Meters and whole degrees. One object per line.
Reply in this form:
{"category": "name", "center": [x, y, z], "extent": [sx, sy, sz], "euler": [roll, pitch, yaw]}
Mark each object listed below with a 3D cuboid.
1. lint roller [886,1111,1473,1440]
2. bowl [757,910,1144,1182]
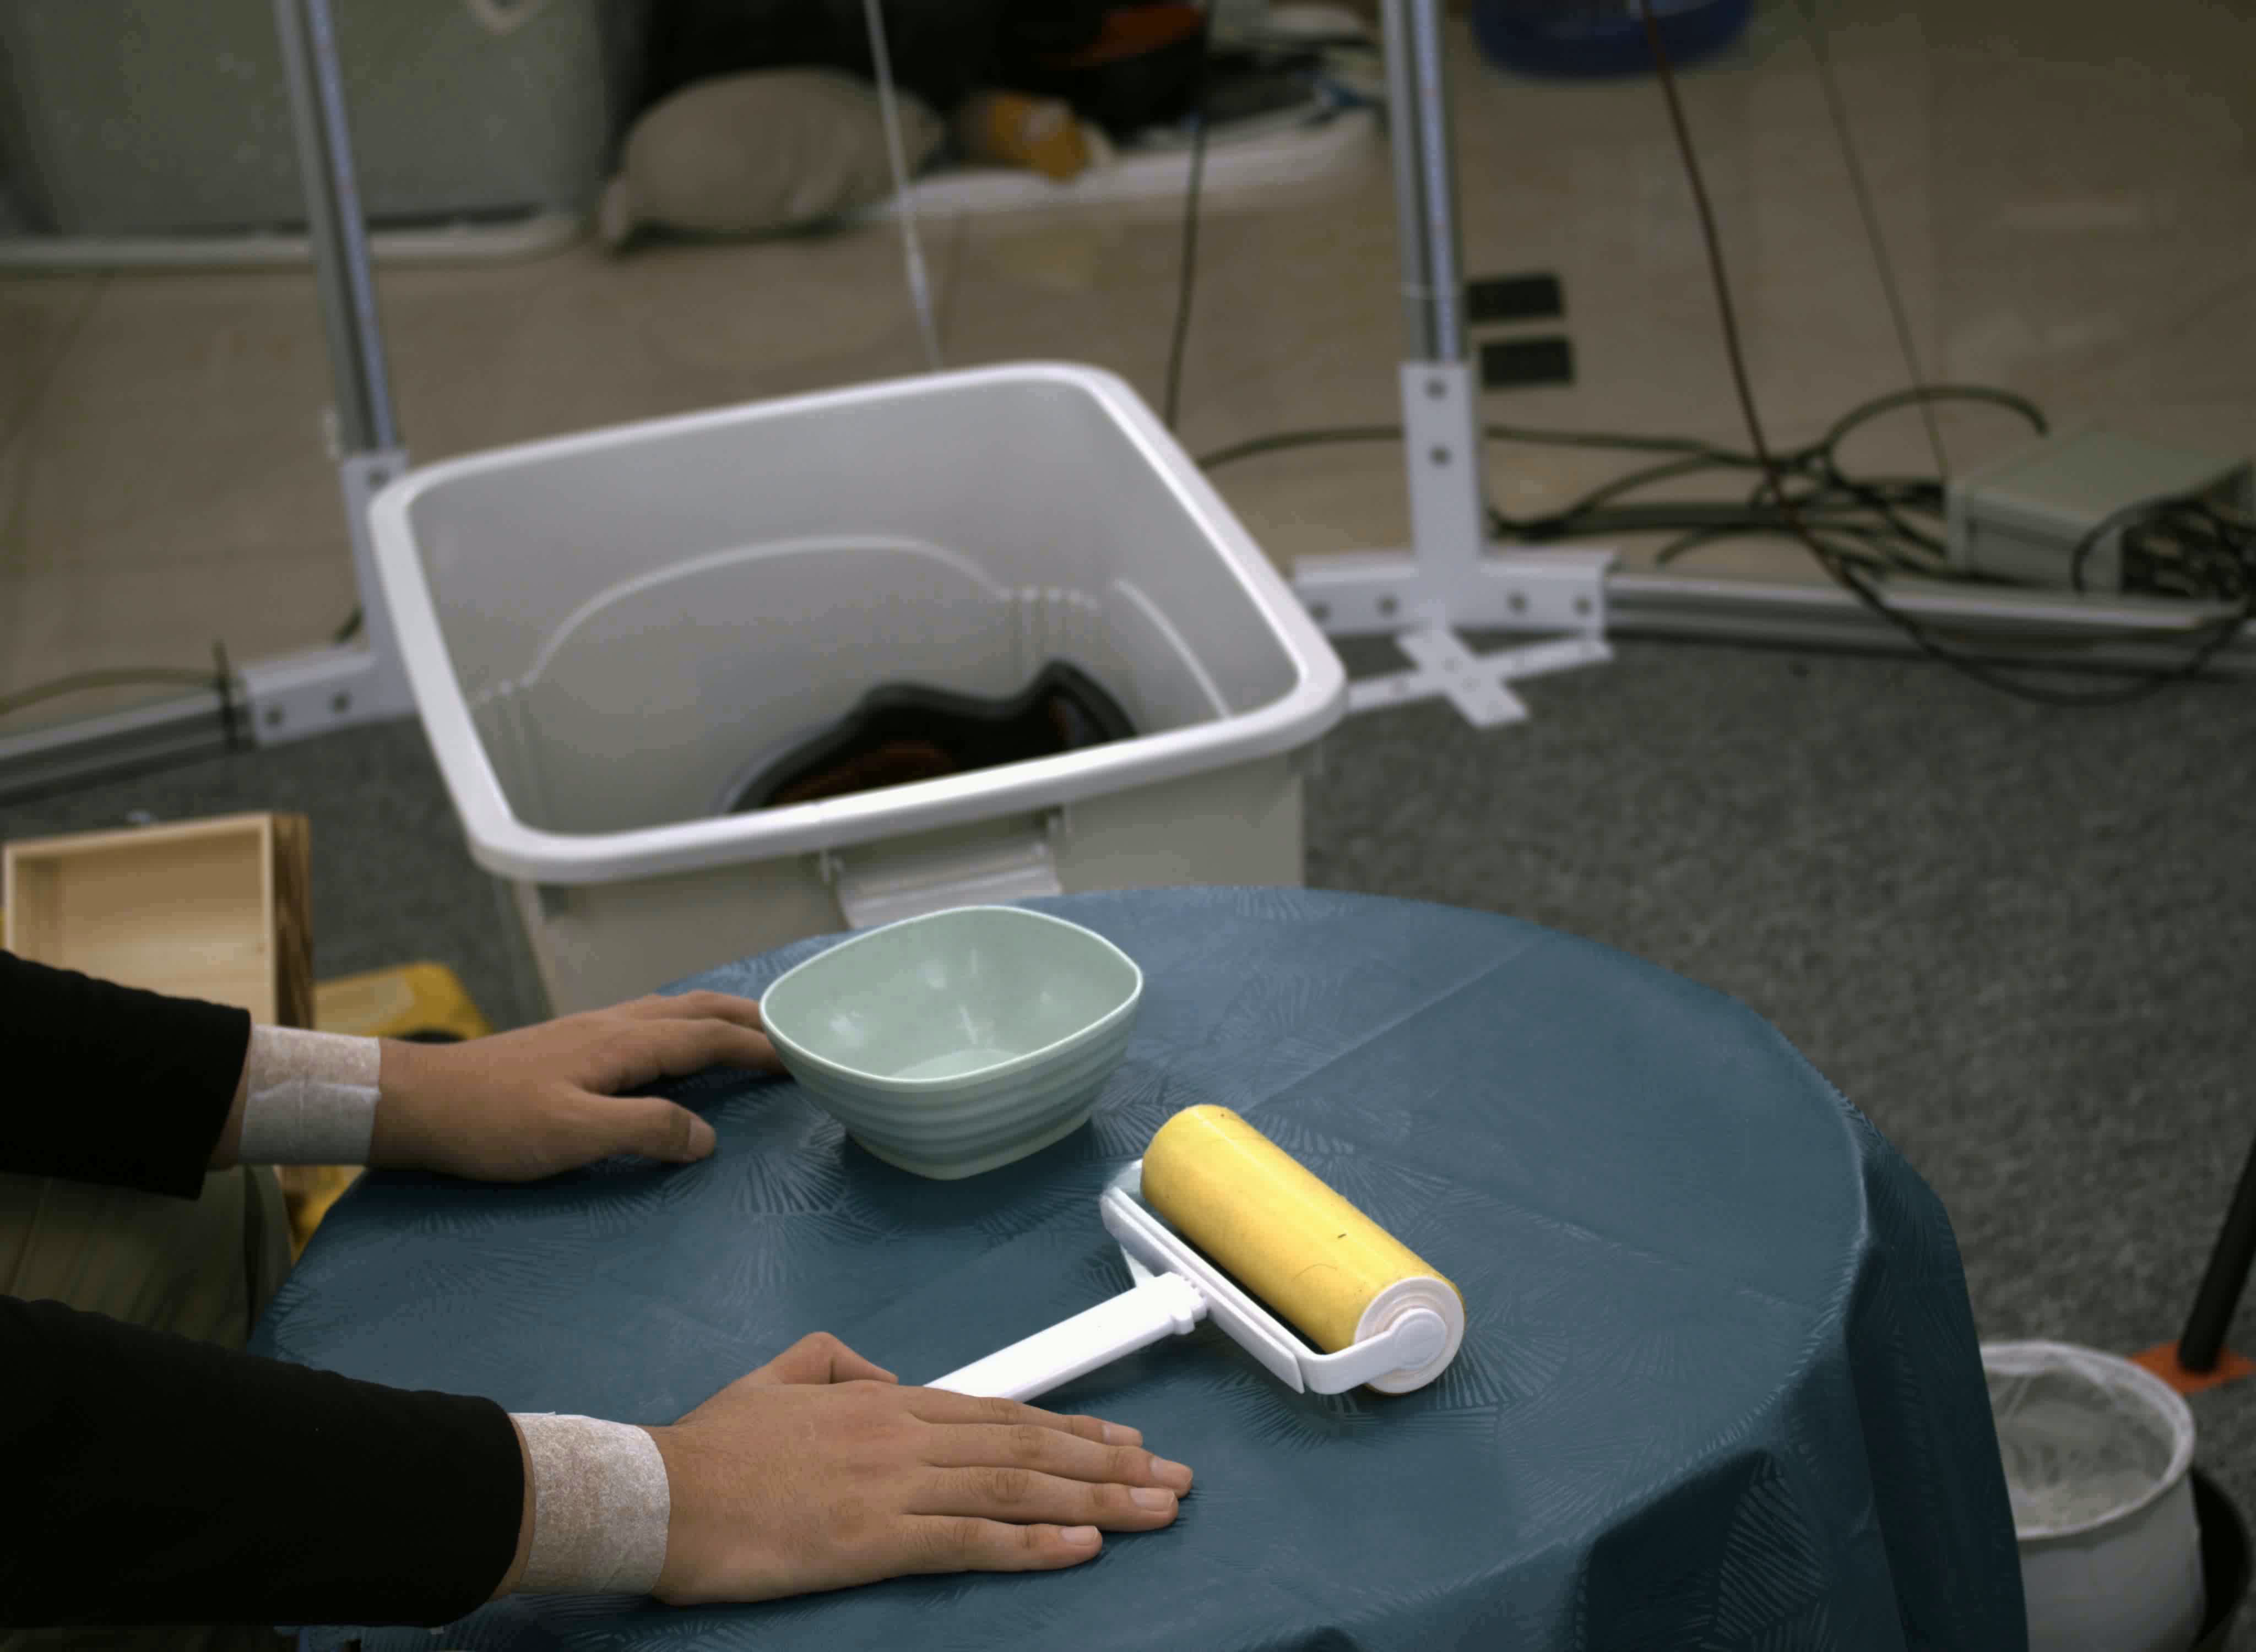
{"category": "lint roller", "center": [0.000, 0.170, 2.019], "extent": [0.191, 0.052, 0.172], "euler": [-14, 25, -26]}
{"category": "bowl", "center": [-0.067, 0.090, 2.201], "extent": [0.151, 0.059, 0.149], "euler": [-4, 25, 2]}
